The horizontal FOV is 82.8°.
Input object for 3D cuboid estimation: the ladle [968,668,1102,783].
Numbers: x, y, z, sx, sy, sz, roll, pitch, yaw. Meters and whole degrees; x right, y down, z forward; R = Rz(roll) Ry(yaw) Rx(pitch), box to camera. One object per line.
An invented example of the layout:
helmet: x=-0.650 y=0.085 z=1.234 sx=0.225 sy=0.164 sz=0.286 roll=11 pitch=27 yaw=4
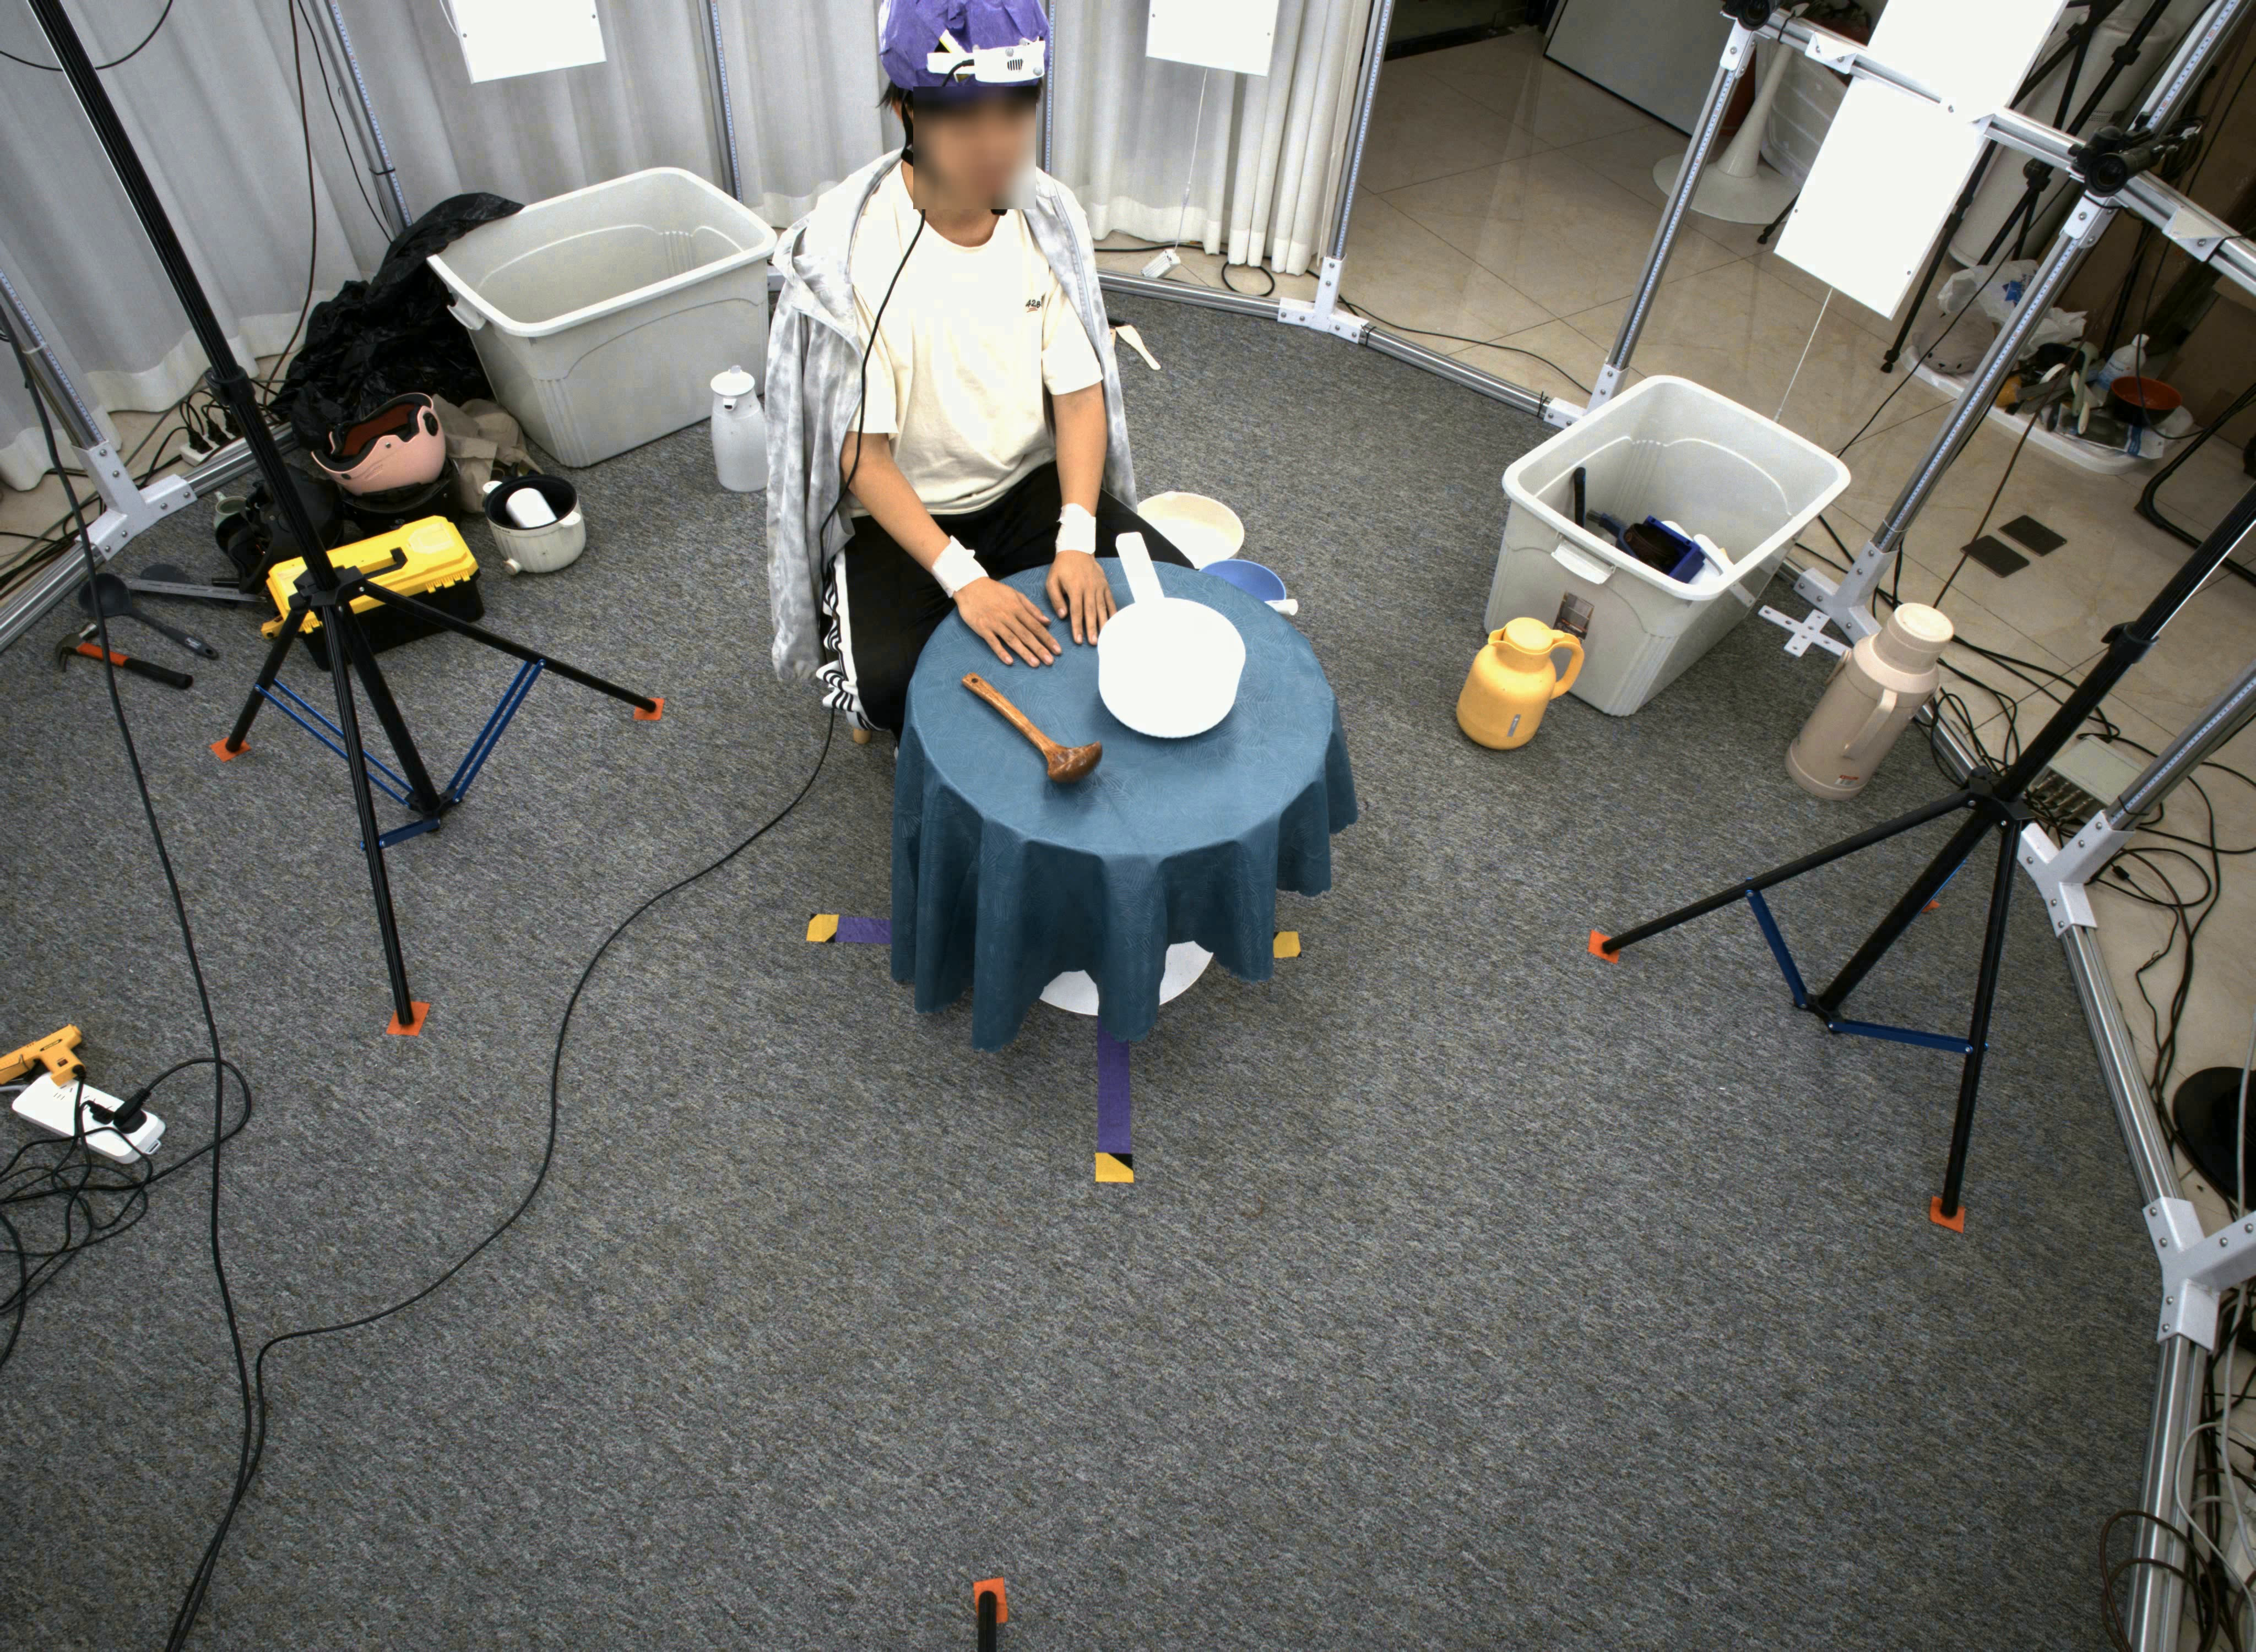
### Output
ladle: x=-0.137 y=-0.151 z=1.731 sx=0.082 sy=0.075 sz=0.279 roll=-29 pitch=57 yaw=-25

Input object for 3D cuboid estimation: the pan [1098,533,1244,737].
pan: x=0.041 y=-0.274 z=1.838 sx=0.201 sy=0.099 sz=0.364 roll=-8 pitch=49 yaw=-10
